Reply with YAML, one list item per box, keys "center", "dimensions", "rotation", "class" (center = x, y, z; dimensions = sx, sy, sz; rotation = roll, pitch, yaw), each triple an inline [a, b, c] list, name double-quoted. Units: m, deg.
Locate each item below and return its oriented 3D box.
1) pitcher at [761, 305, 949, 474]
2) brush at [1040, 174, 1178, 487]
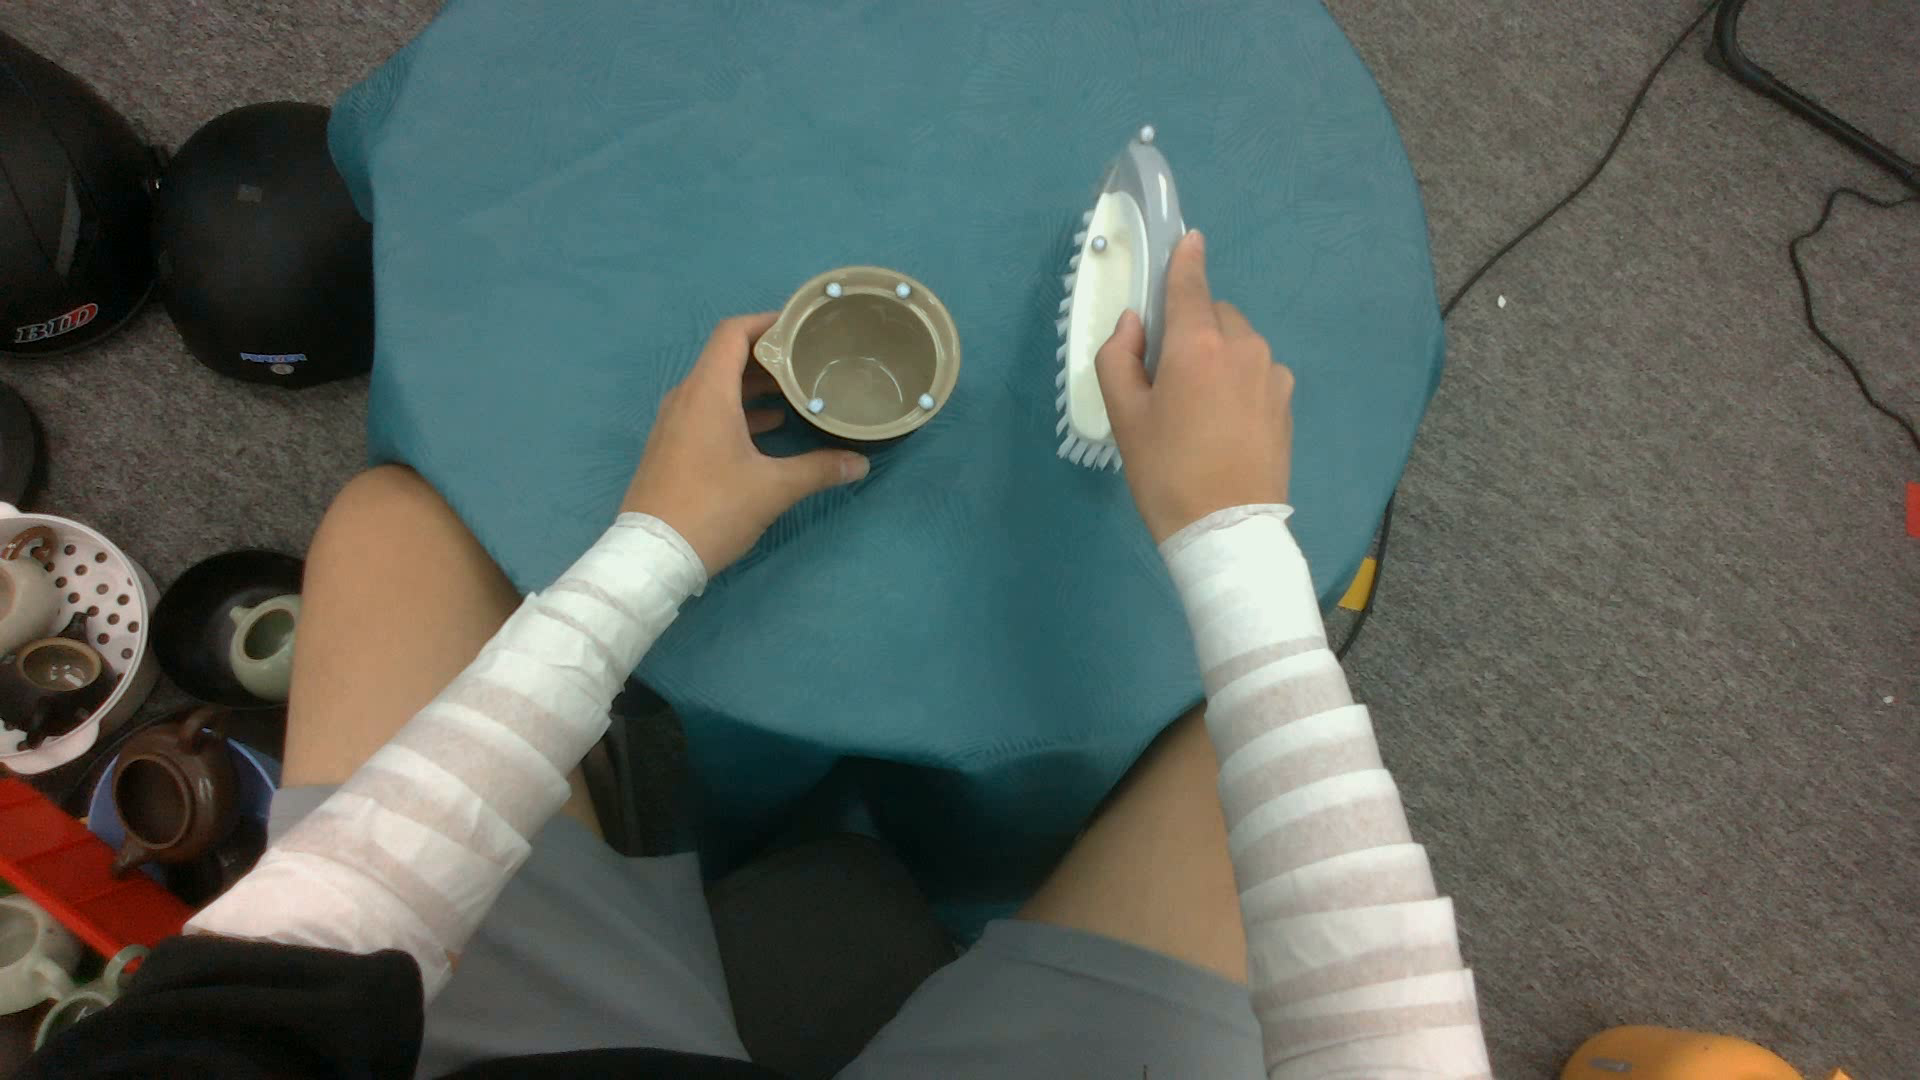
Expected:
- center: [-0.055, -0.073, 0.723]
  dimensions: [0.096, 0.071, 0.084]
  rotation: [-4, 75, -6]
  class: "pitcher"
- center: [0.083, -0.124, 0.723]
  dimensions: [0.061, 0.094, 0.176]
  rotation: [8, 69, -14]
  class: "brush"
